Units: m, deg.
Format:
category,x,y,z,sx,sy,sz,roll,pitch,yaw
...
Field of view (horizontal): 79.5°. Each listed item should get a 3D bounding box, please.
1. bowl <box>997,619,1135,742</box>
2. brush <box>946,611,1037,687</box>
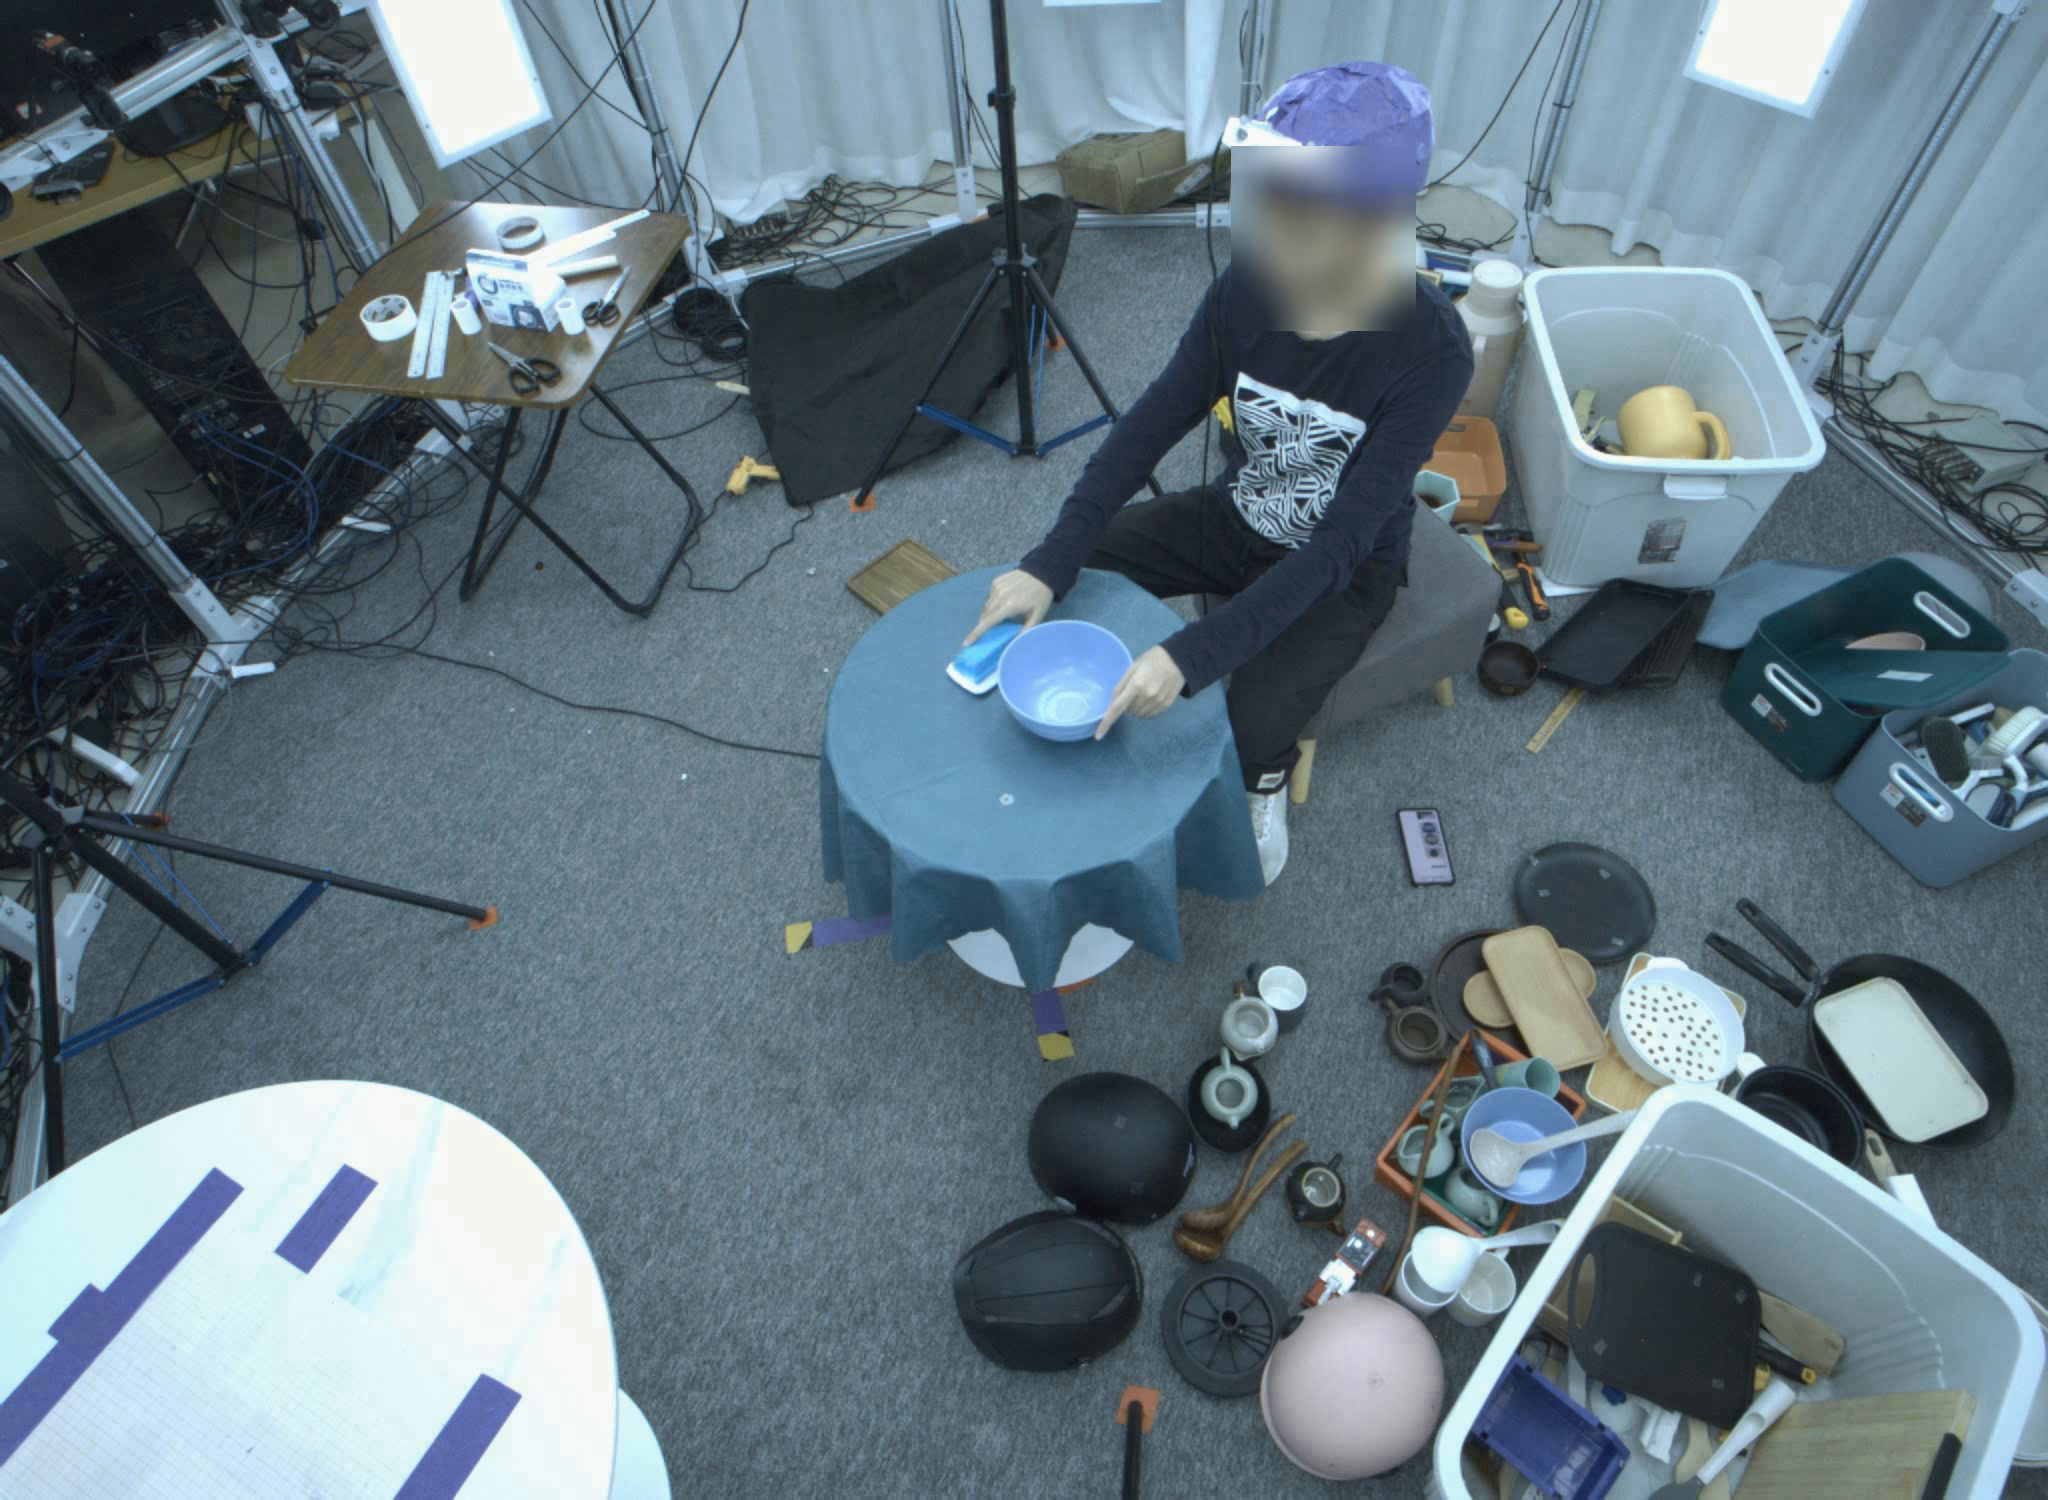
category,x,y,z,sx,sy,sz,roll,pitch,yaw
bowl,0.062,-0.085,1.780,0.196,0.096,0.194,-1,56,3
brush,-0.048,-0.162,1.858,0.145,0.056,0.082,-40,60,-20
